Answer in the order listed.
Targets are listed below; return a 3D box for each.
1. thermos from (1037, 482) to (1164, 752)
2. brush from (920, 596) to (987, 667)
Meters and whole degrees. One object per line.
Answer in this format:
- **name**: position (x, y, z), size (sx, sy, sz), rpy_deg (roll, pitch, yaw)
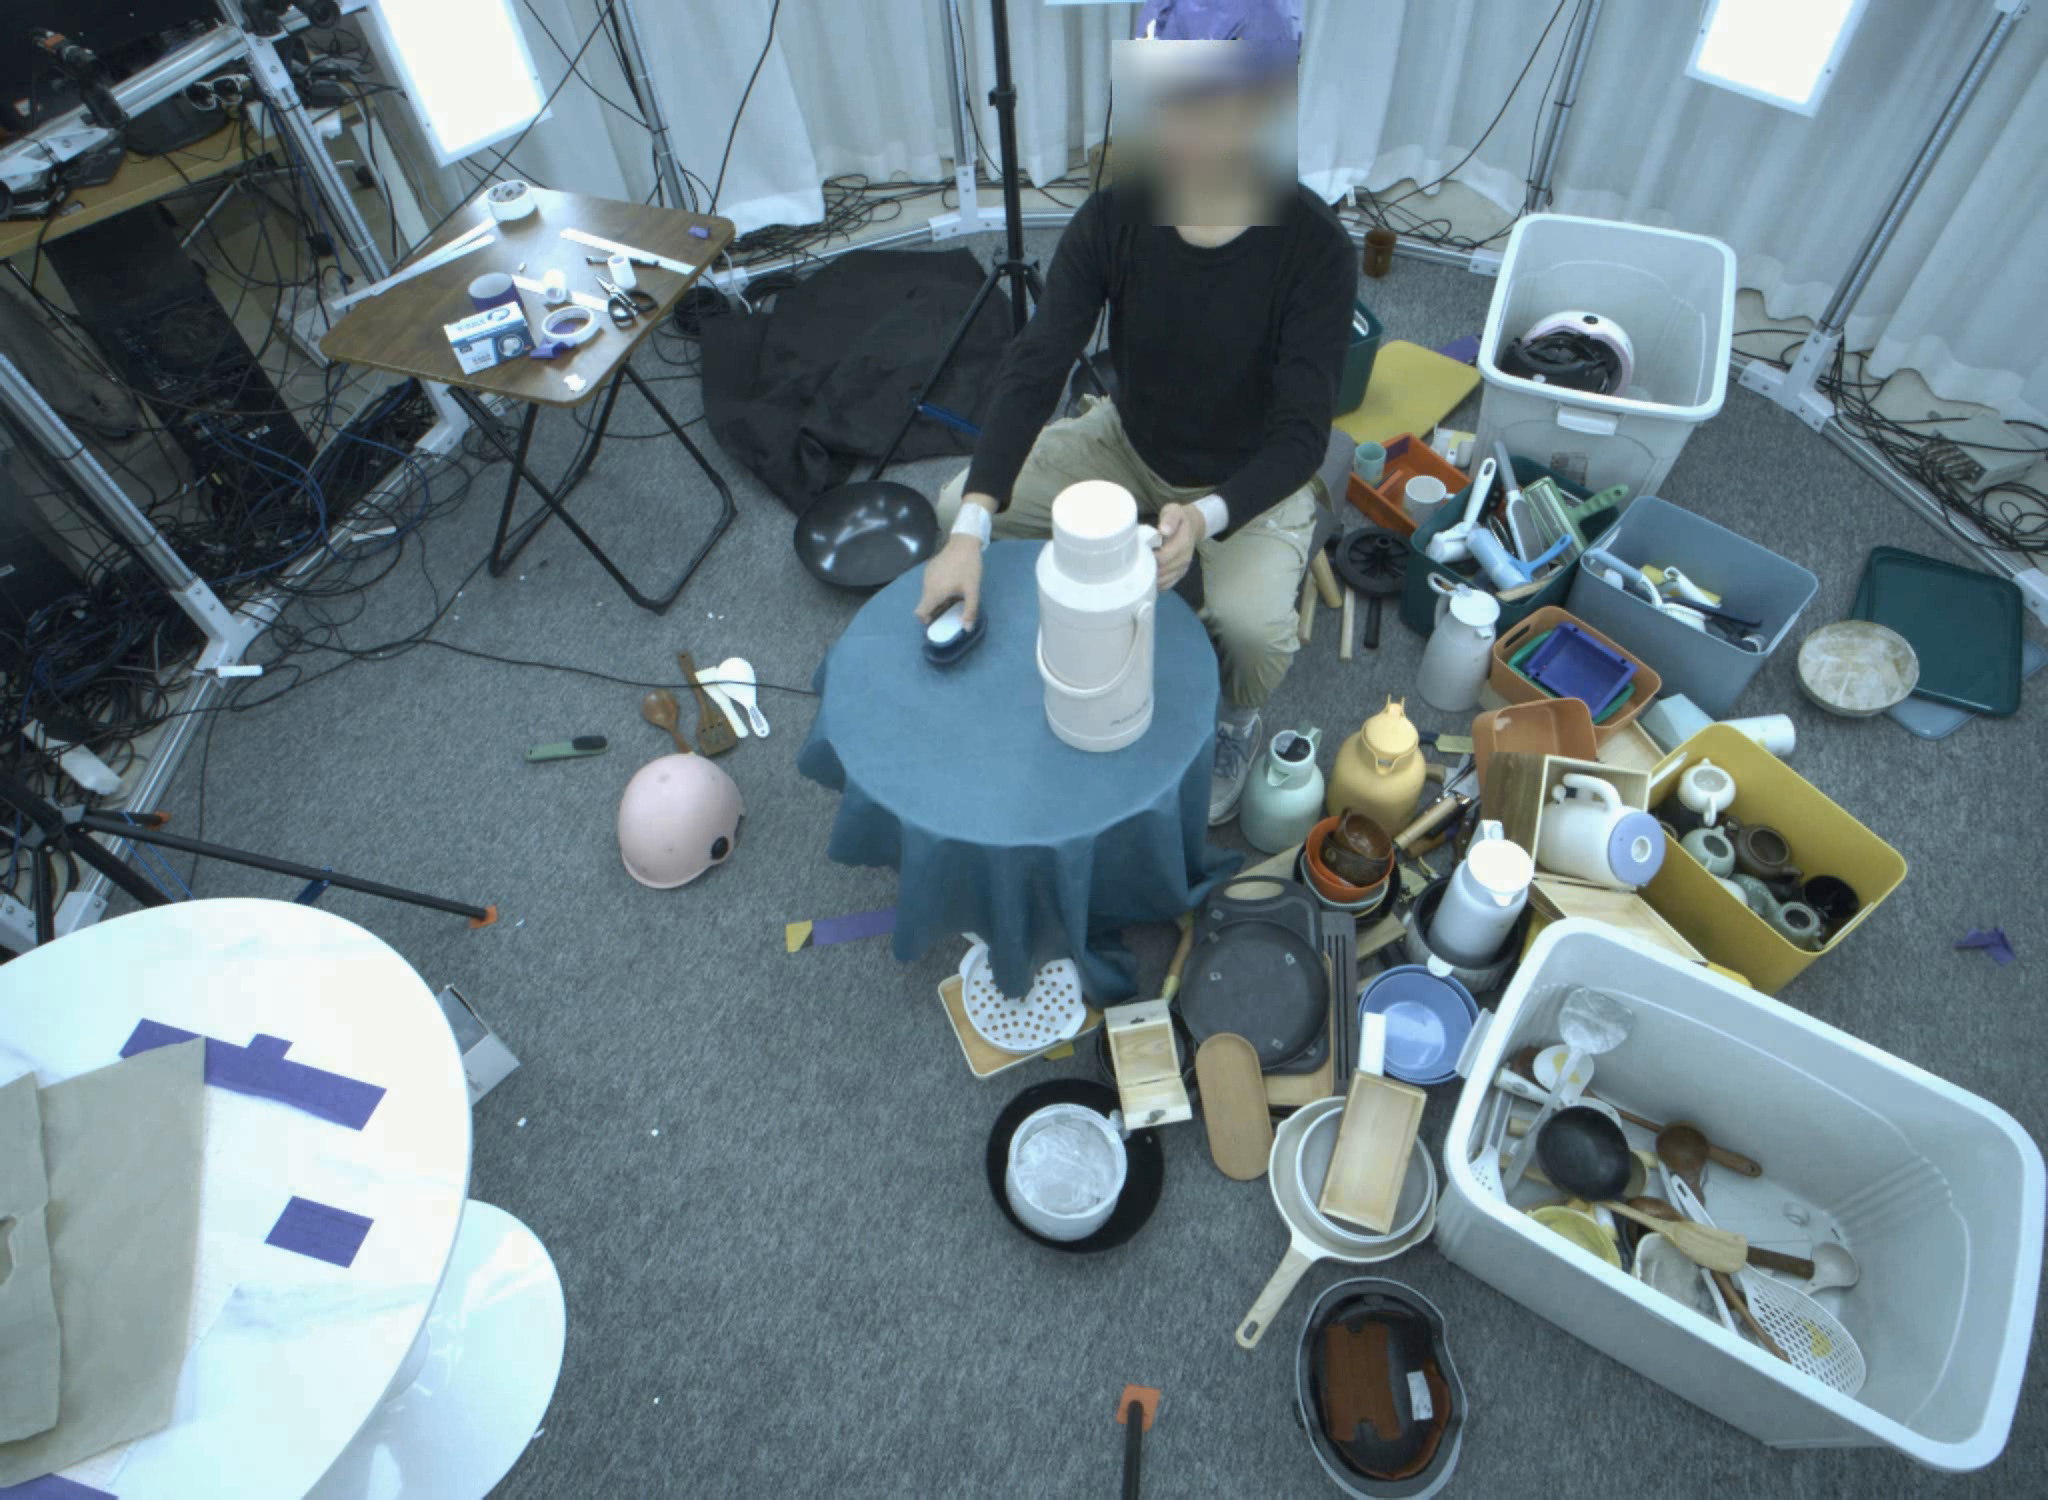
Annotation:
- **thermos**: position (0.112, -0.184, 1.670), size (0.172, 0.411, 0.208), rpy_deg (36, 65, 27)
- **brush**: position (-0.108, -0.180, 1.884), size (0.067, 0.062, 0.122), rpy_deg (36, 66, 23)
